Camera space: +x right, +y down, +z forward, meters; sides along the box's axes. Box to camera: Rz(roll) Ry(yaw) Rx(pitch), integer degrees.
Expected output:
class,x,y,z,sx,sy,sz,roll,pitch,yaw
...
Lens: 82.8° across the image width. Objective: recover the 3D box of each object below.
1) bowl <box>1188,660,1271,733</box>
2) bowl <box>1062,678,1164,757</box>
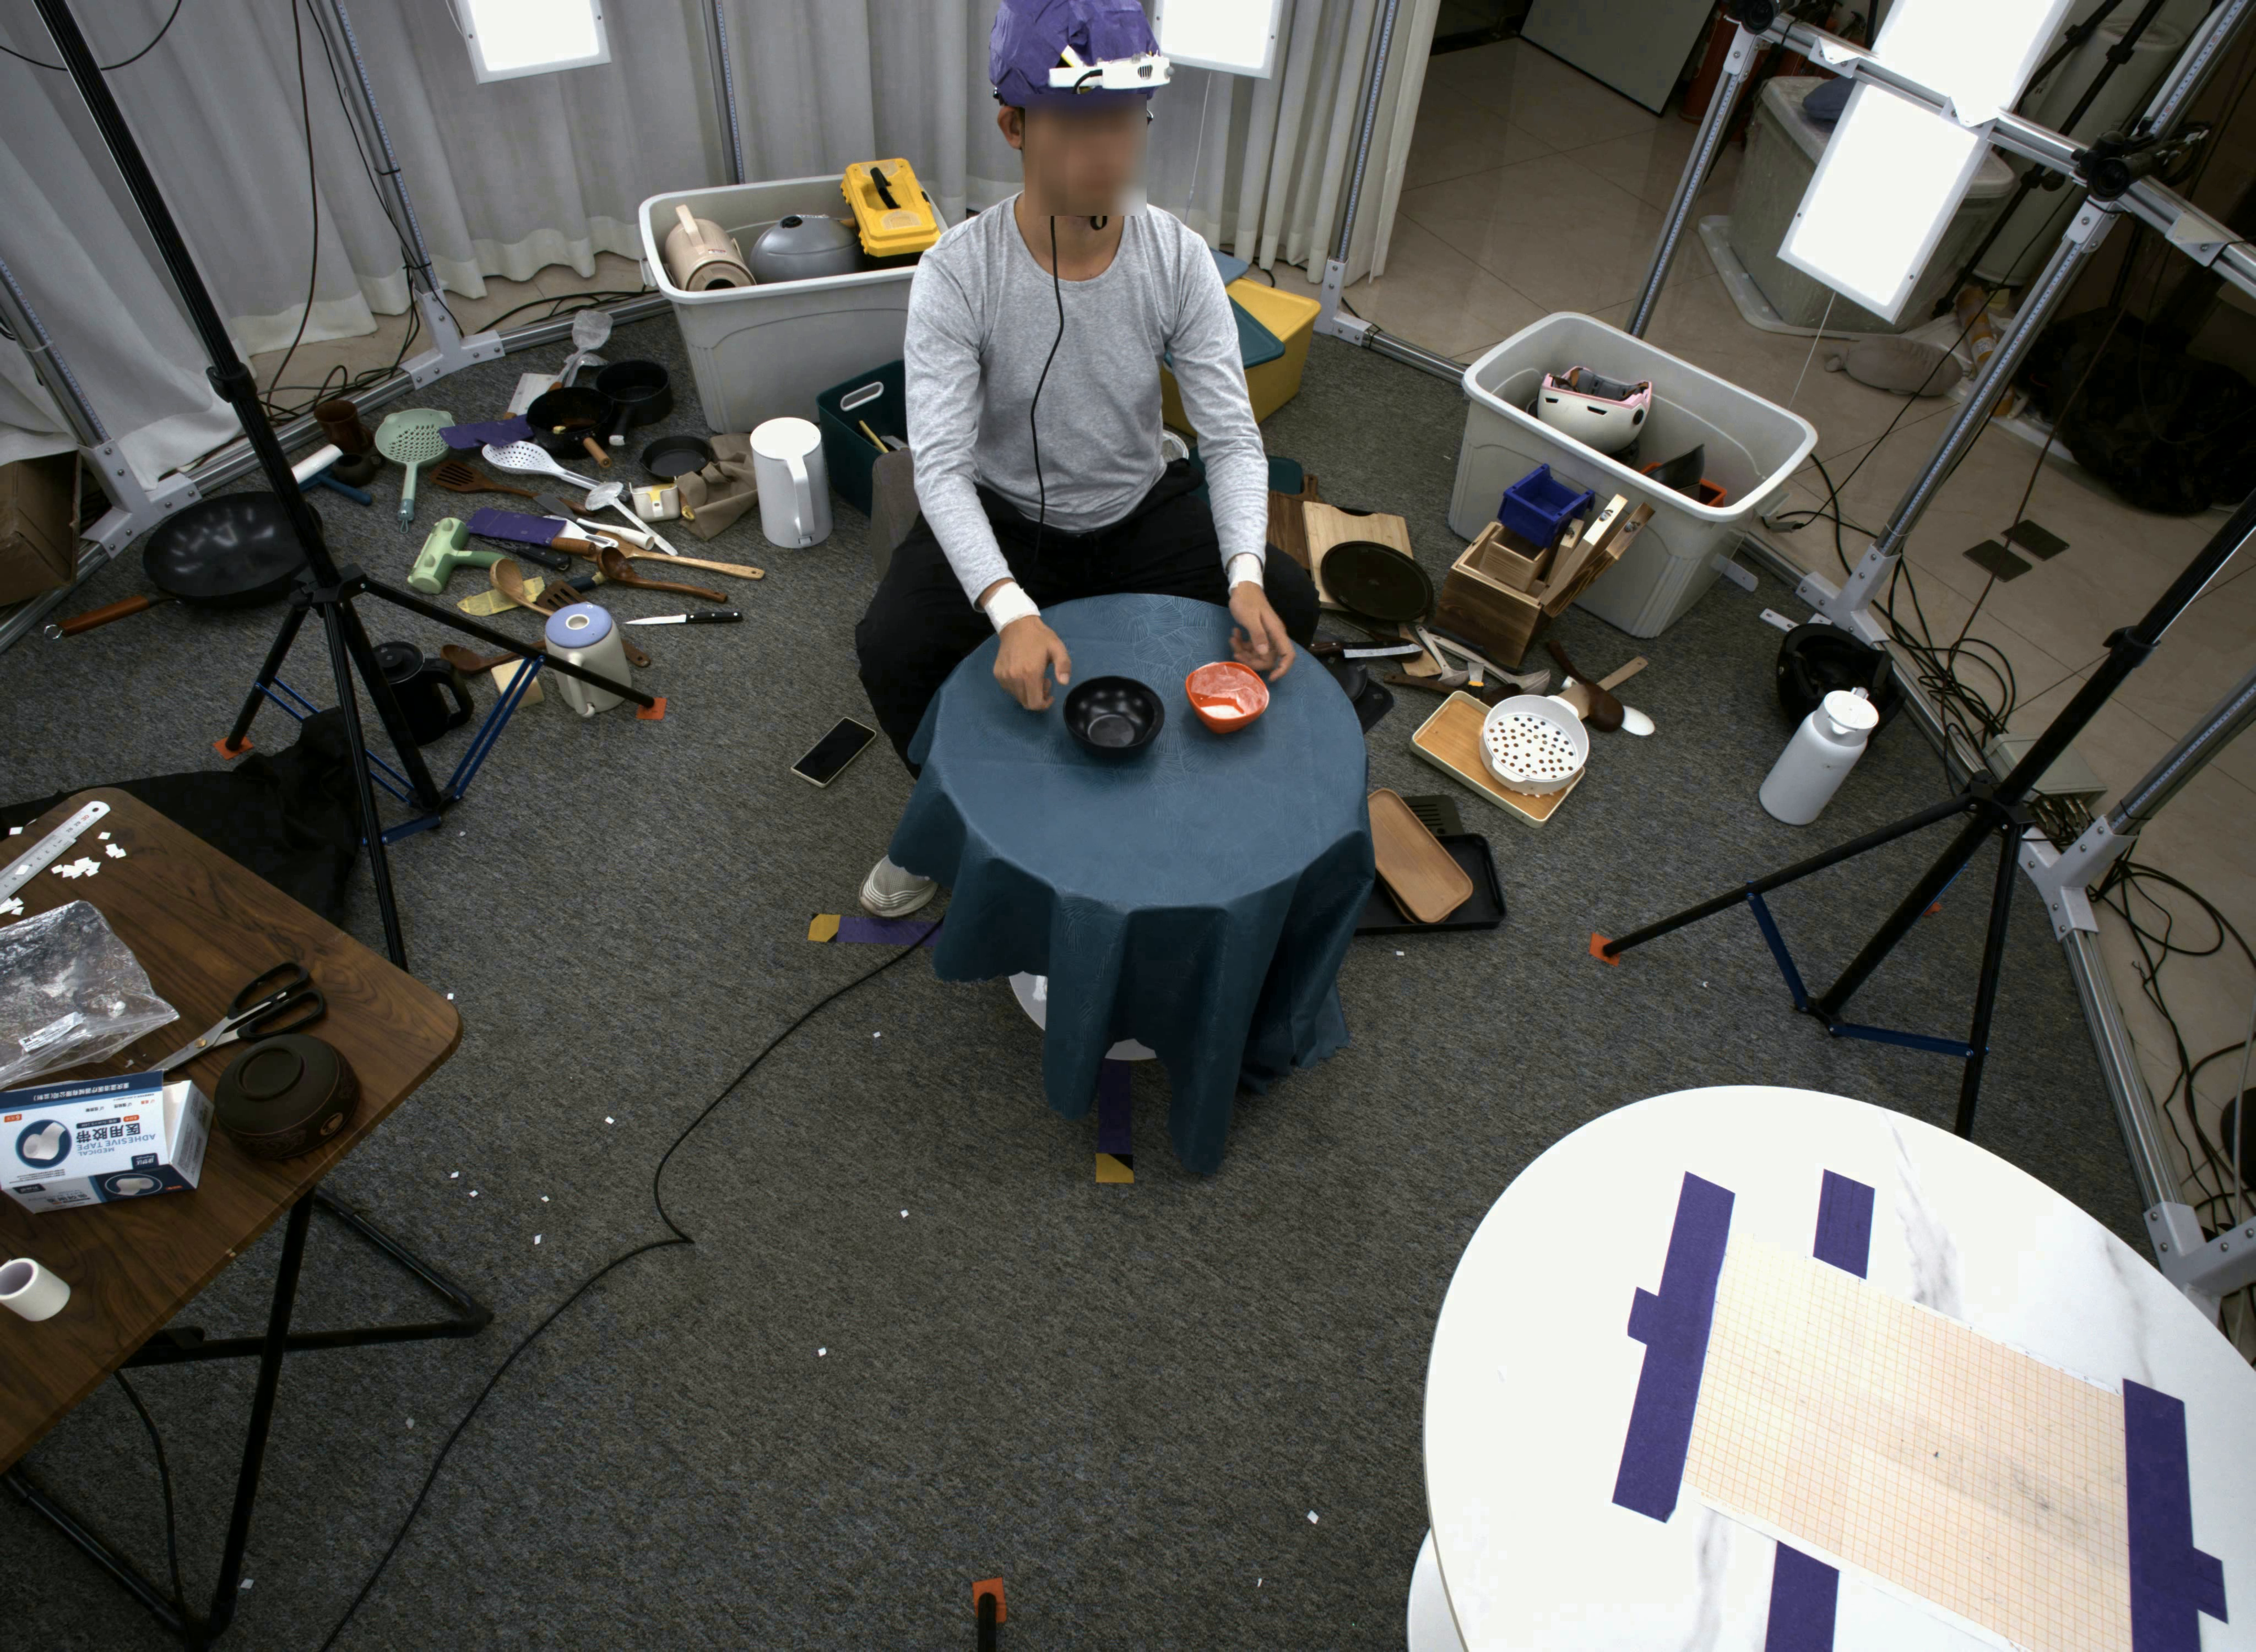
class,x,y,z,sx,sy,sz,roll,pitch,yaw
bowl,0.139,-0.174,1.793,0.119,0.050,0.122,2,51,-2
bowl,-0.021,-0.140,1.758,0.140,0.048,0.143,2,46,-2
